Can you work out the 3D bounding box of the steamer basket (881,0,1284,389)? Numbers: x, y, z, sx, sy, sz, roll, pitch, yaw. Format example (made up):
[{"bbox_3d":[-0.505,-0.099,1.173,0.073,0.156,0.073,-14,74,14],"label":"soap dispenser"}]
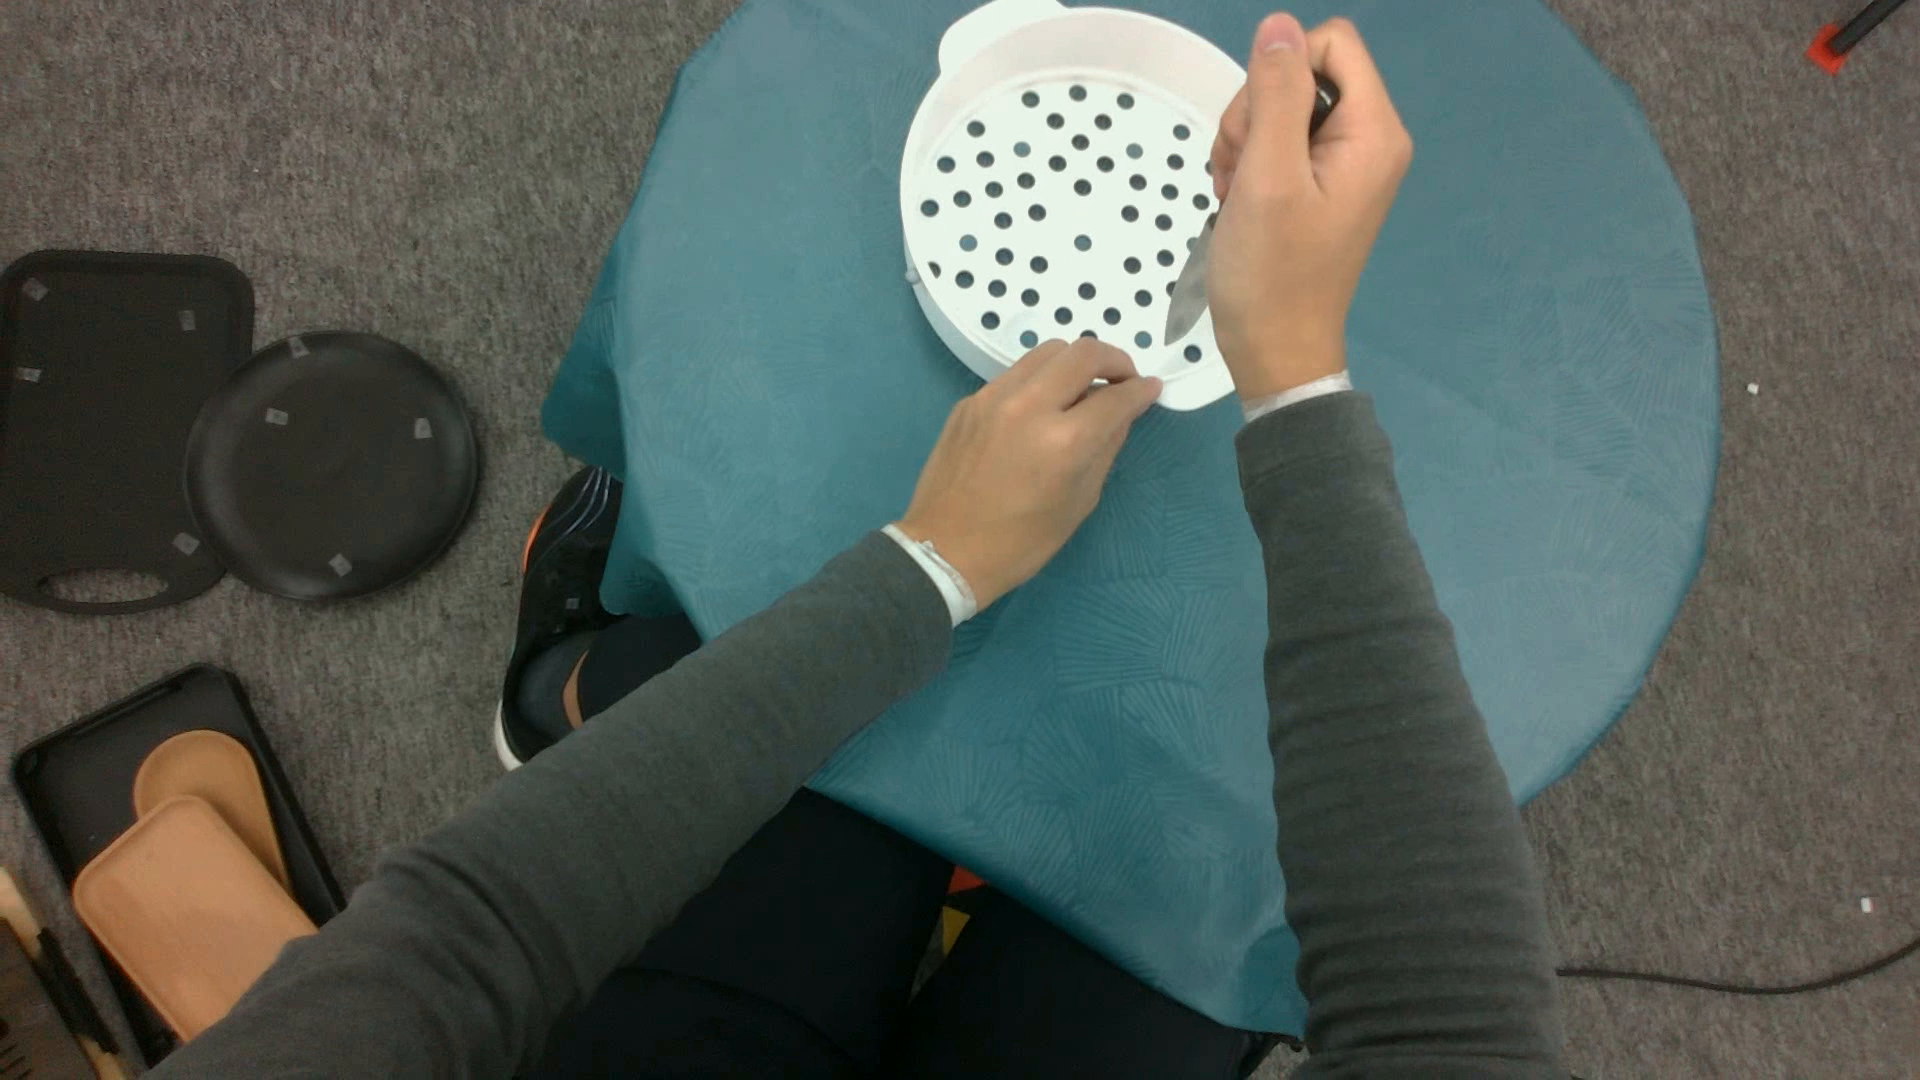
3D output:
[{"bbox_3d":[0.059,-0.177,0.705,0.202,0.069,0.230,-30,85,-10],"label":"steamer basket"}]

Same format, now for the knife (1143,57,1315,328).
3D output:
[{"bbox_3d":[0.107,-0.134,0.593,0.016,0.237,0.024,-24,81,-10],"label":"knife"}]
